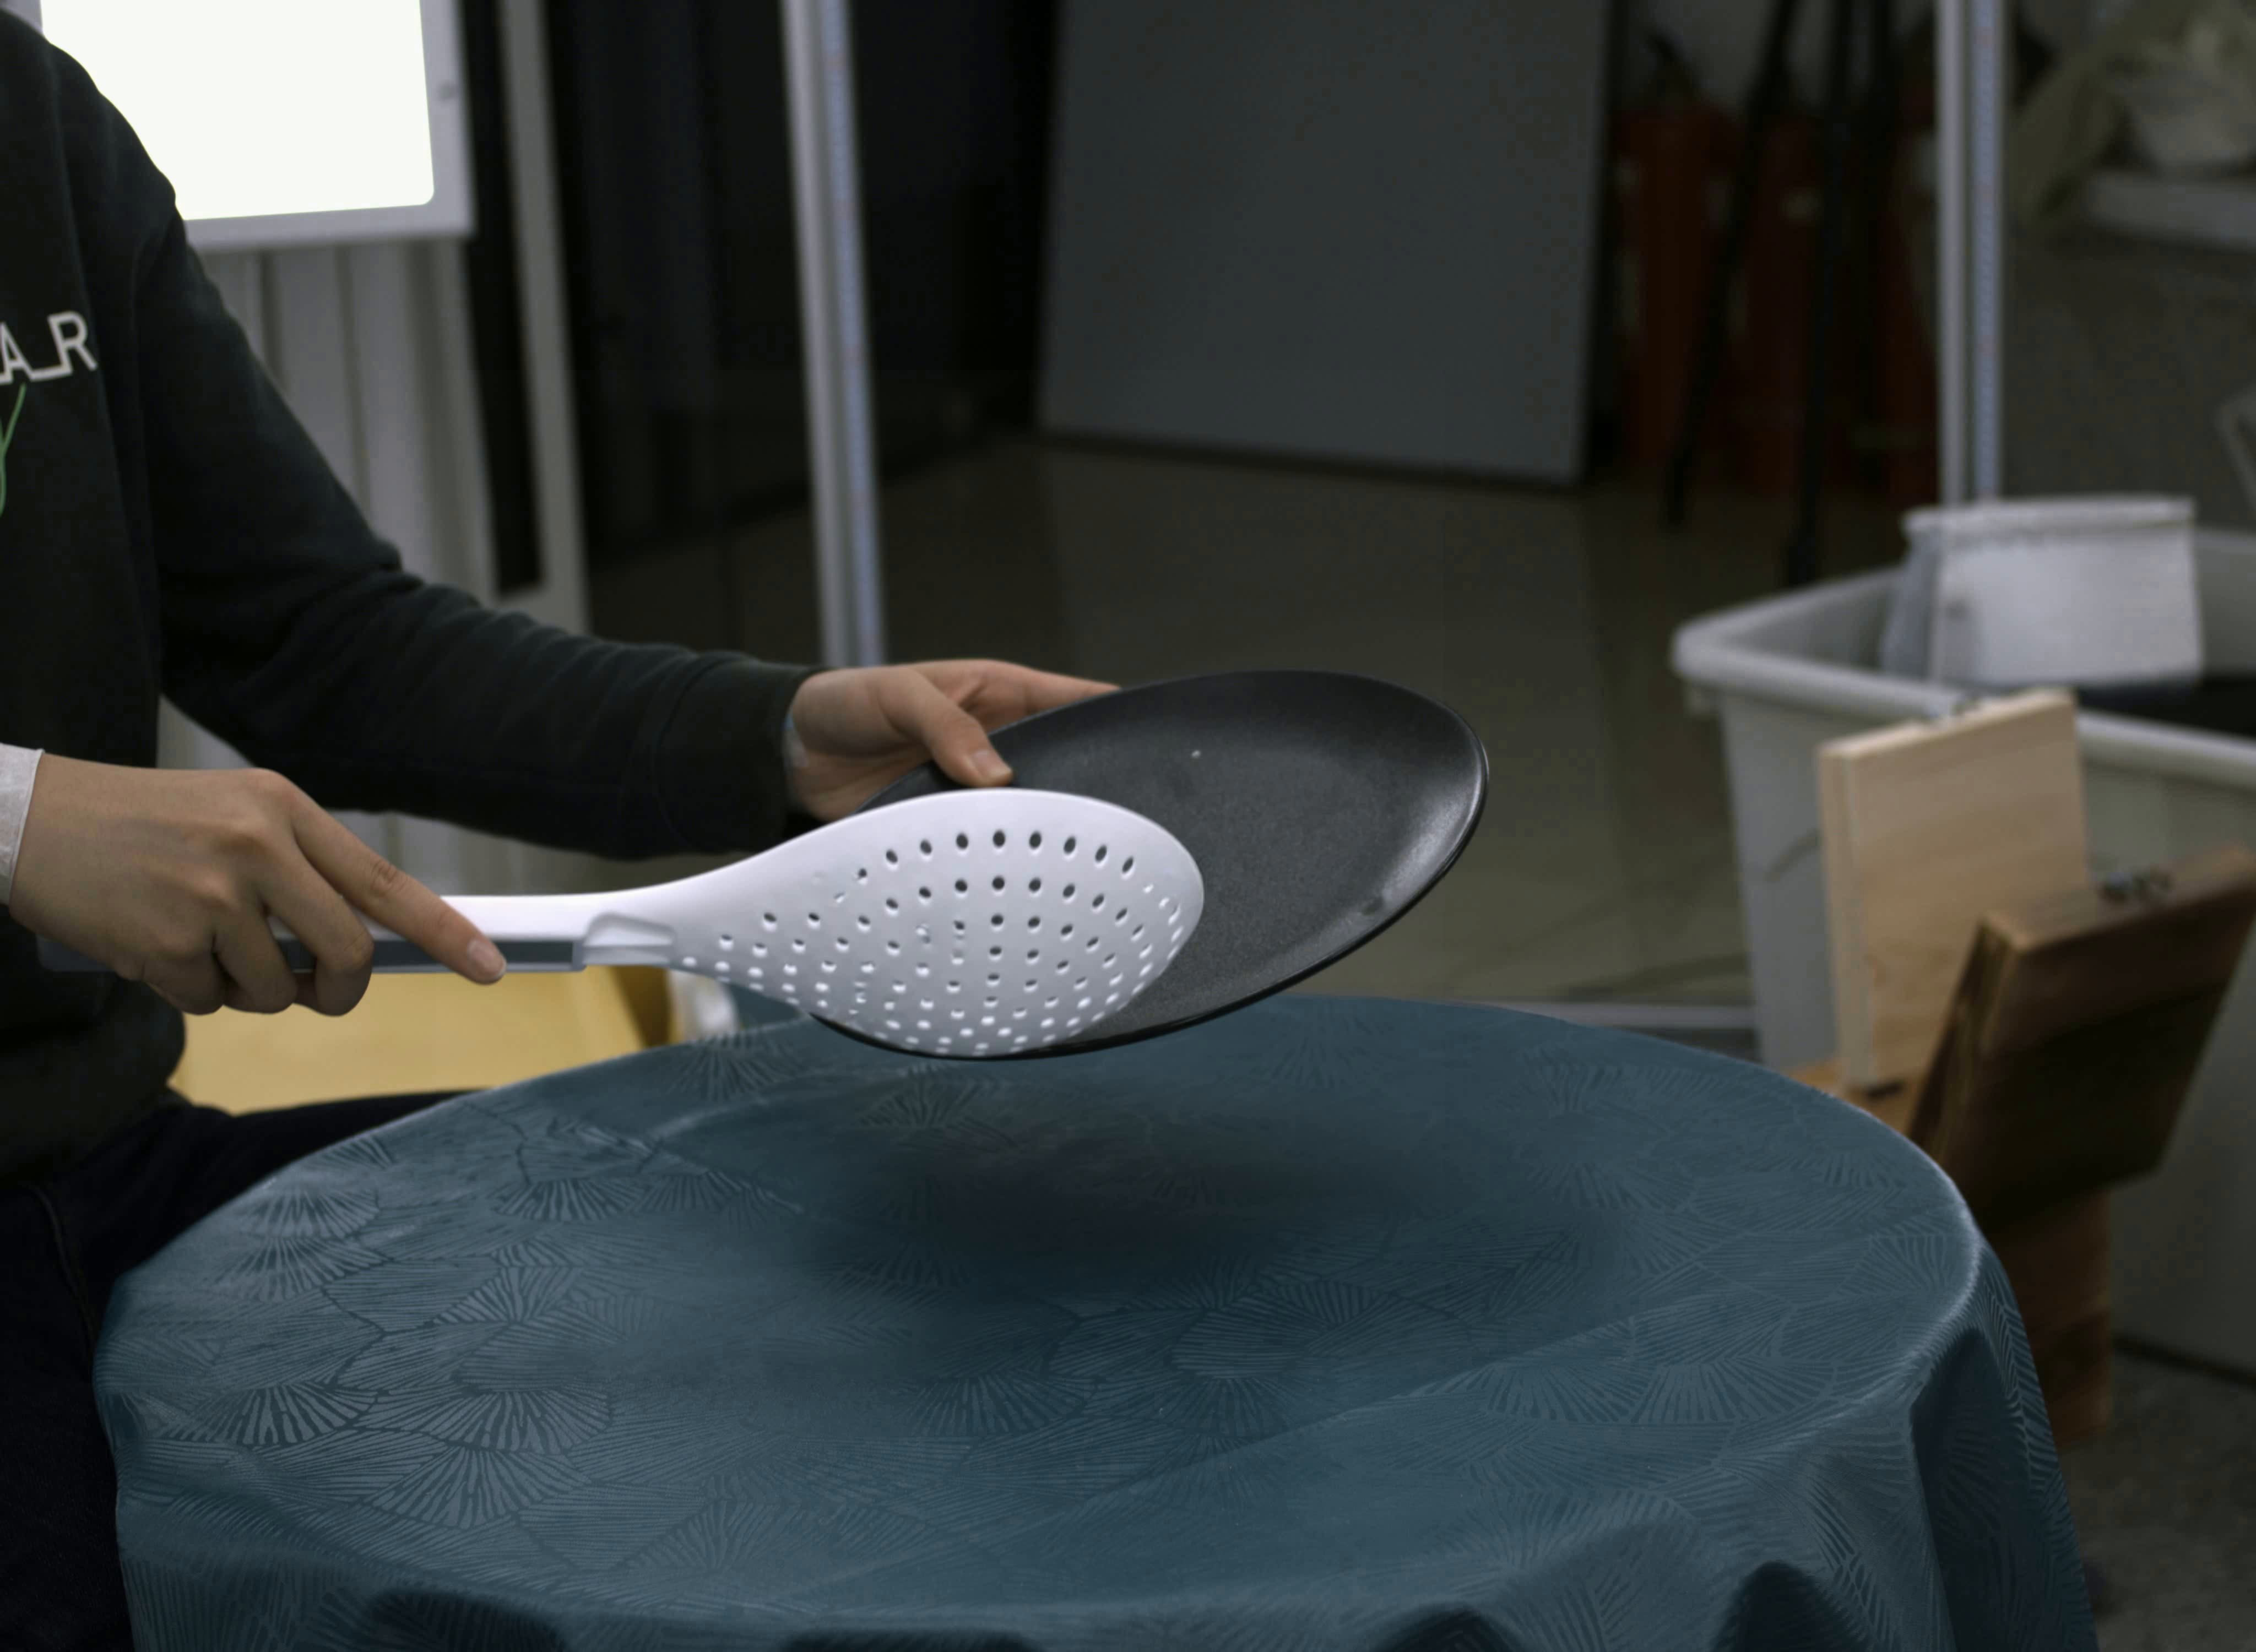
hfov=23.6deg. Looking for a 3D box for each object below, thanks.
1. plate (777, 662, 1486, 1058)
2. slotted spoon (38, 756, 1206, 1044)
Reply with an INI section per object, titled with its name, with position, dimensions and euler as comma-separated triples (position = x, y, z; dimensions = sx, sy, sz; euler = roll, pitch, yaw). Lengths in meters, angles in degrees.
[plate]
position = 0.002, 0.015, 1.764
dimensions = 0.242, 0.023, 0.245
euler = -15, 26, 6
[slotted spoon]
position = -0.149, 0.028, 1.616
dimensions = 0.344, 0.136, 0.046
euler = 3, 55, -3
